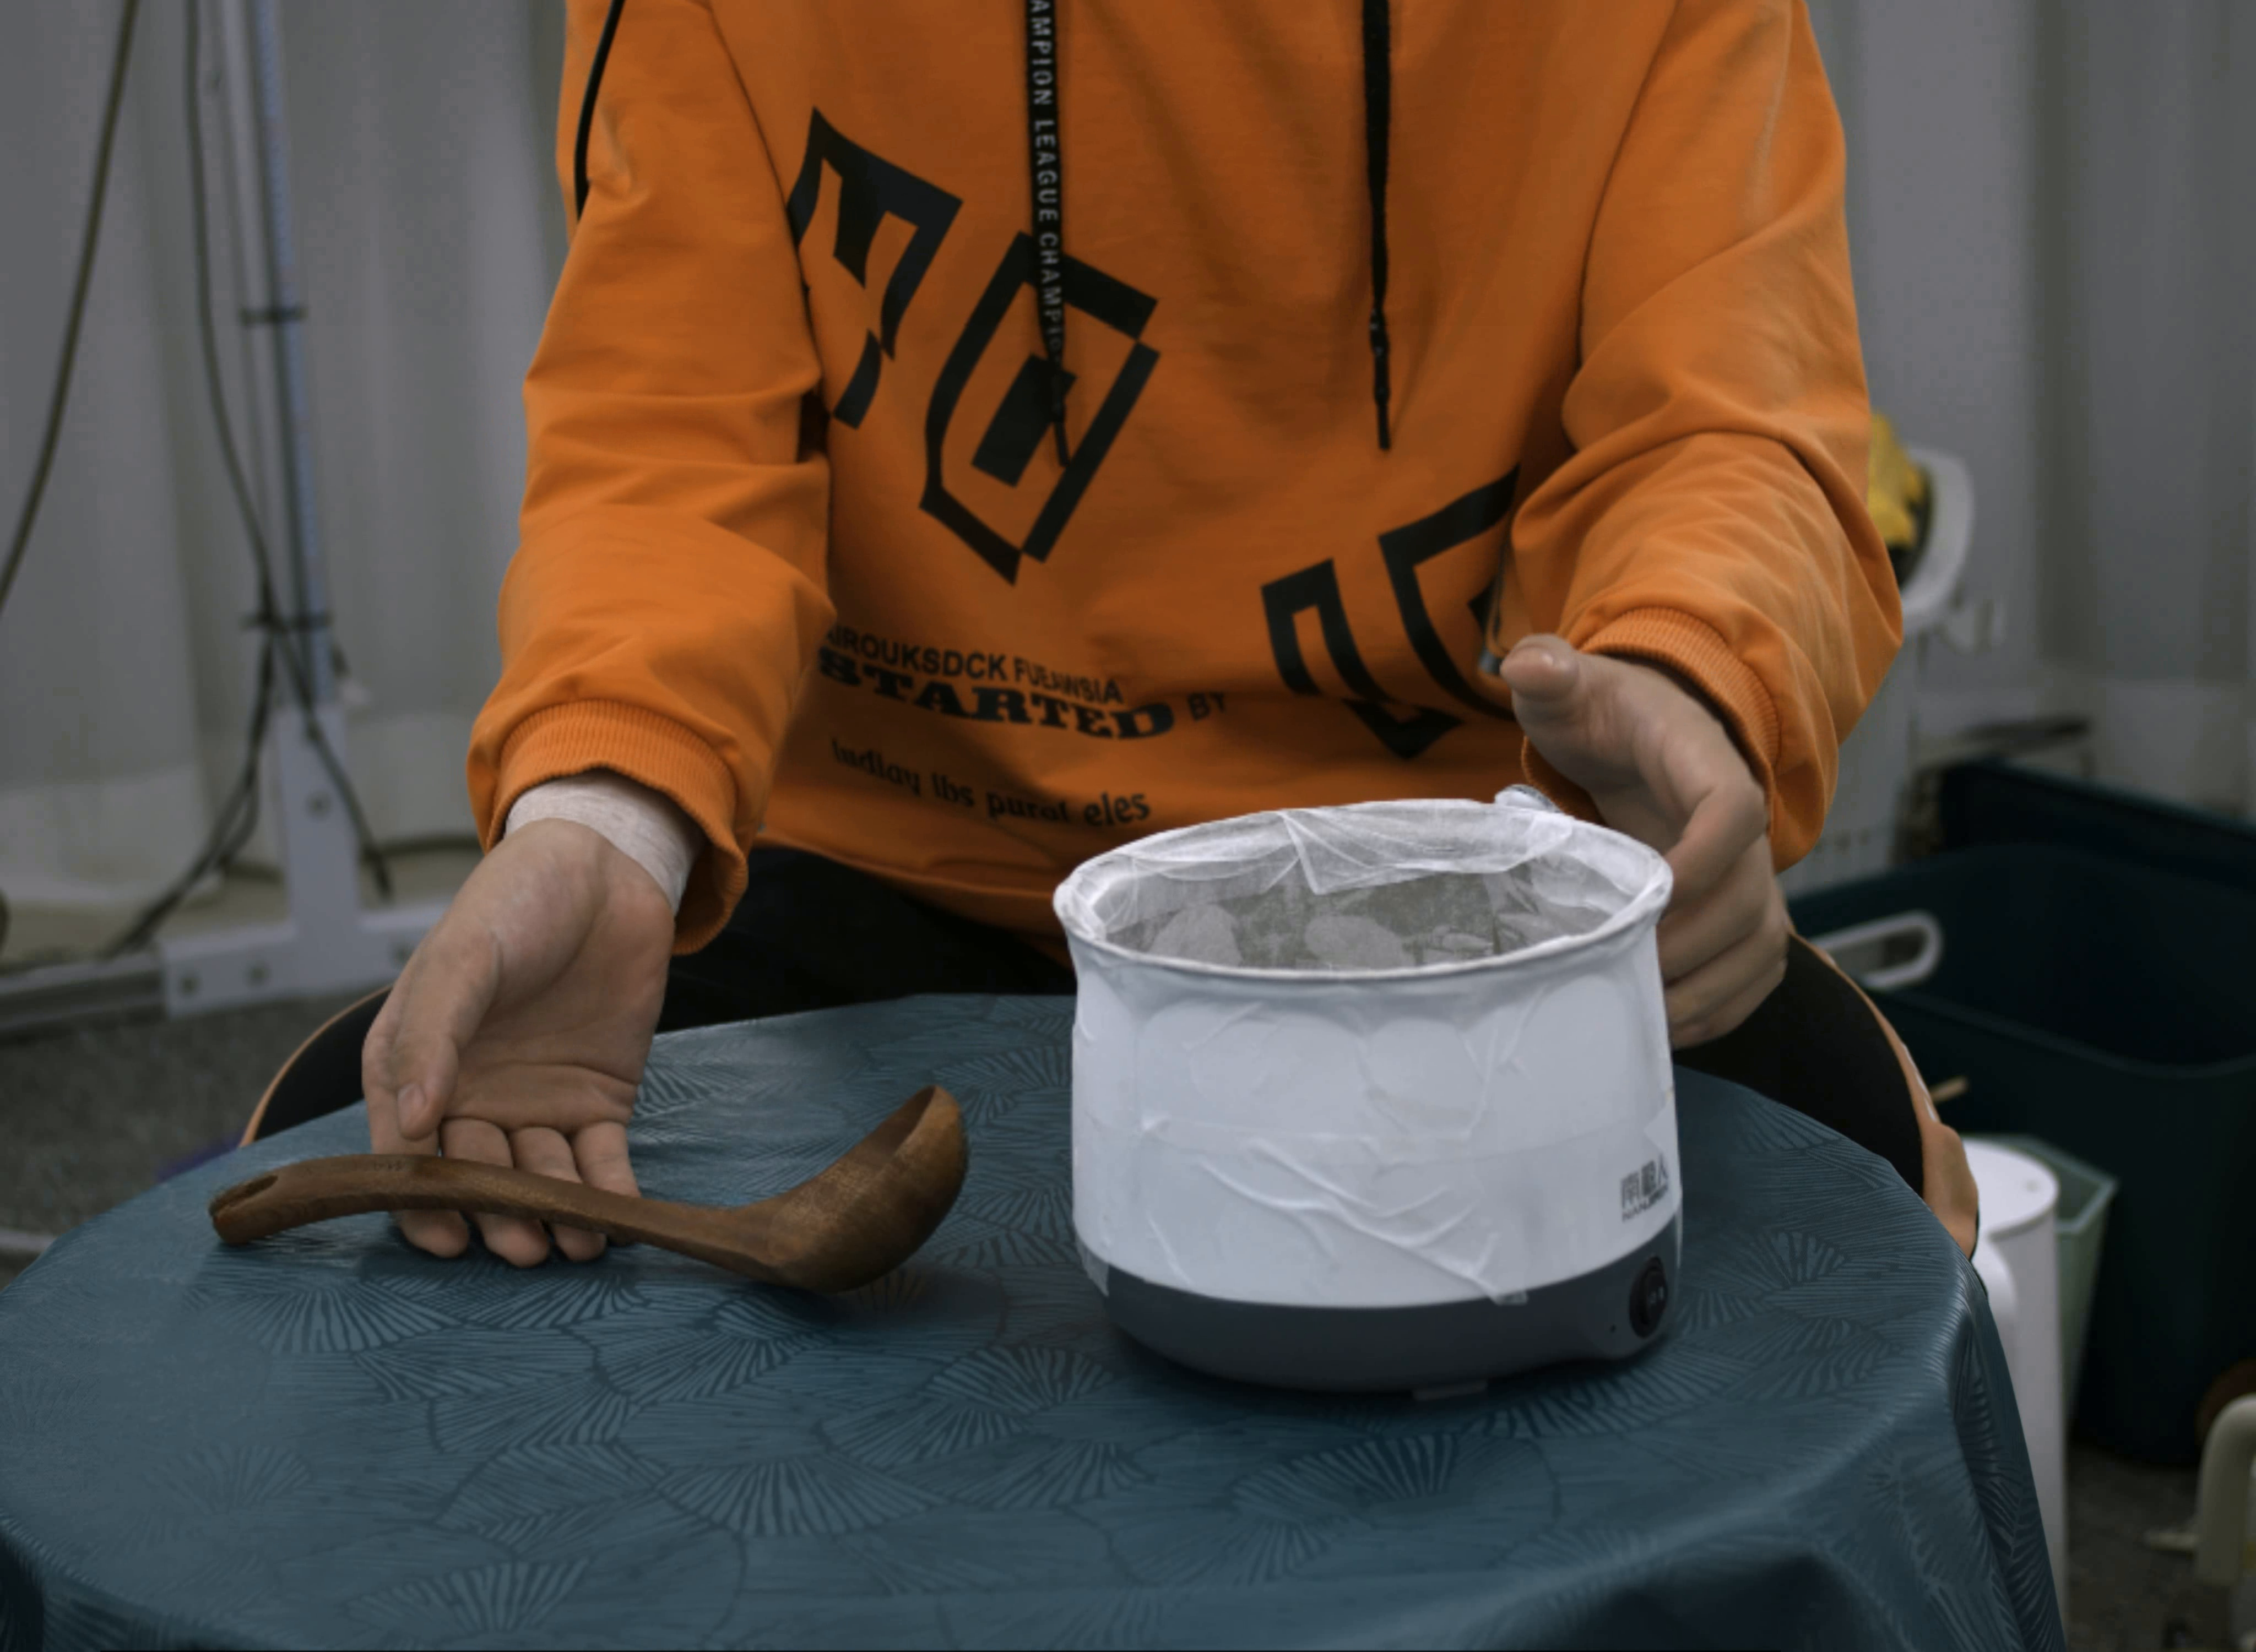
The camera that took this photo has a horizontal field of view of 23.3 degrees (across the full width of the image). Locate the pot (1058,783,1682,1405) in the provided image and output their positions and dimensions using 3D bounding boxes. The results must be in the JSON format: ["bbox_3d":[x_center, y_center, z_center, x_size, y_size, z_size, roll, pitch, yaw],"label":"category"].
[{"bbox_3d":[0.084,0.071,1.599,0.179,0.136,0.234,6,17,29],"label":"pot"}]

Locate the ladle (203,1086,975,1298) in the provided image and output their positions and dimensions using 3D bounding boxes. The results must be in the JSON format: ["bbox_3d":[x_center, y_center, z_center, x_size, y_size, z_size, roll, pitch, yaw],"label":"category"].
[{"bbox_3d":[-0.168,0.106,1.661,0.260,0.064,0.077,3,24,20],"label":"ladle"}]
